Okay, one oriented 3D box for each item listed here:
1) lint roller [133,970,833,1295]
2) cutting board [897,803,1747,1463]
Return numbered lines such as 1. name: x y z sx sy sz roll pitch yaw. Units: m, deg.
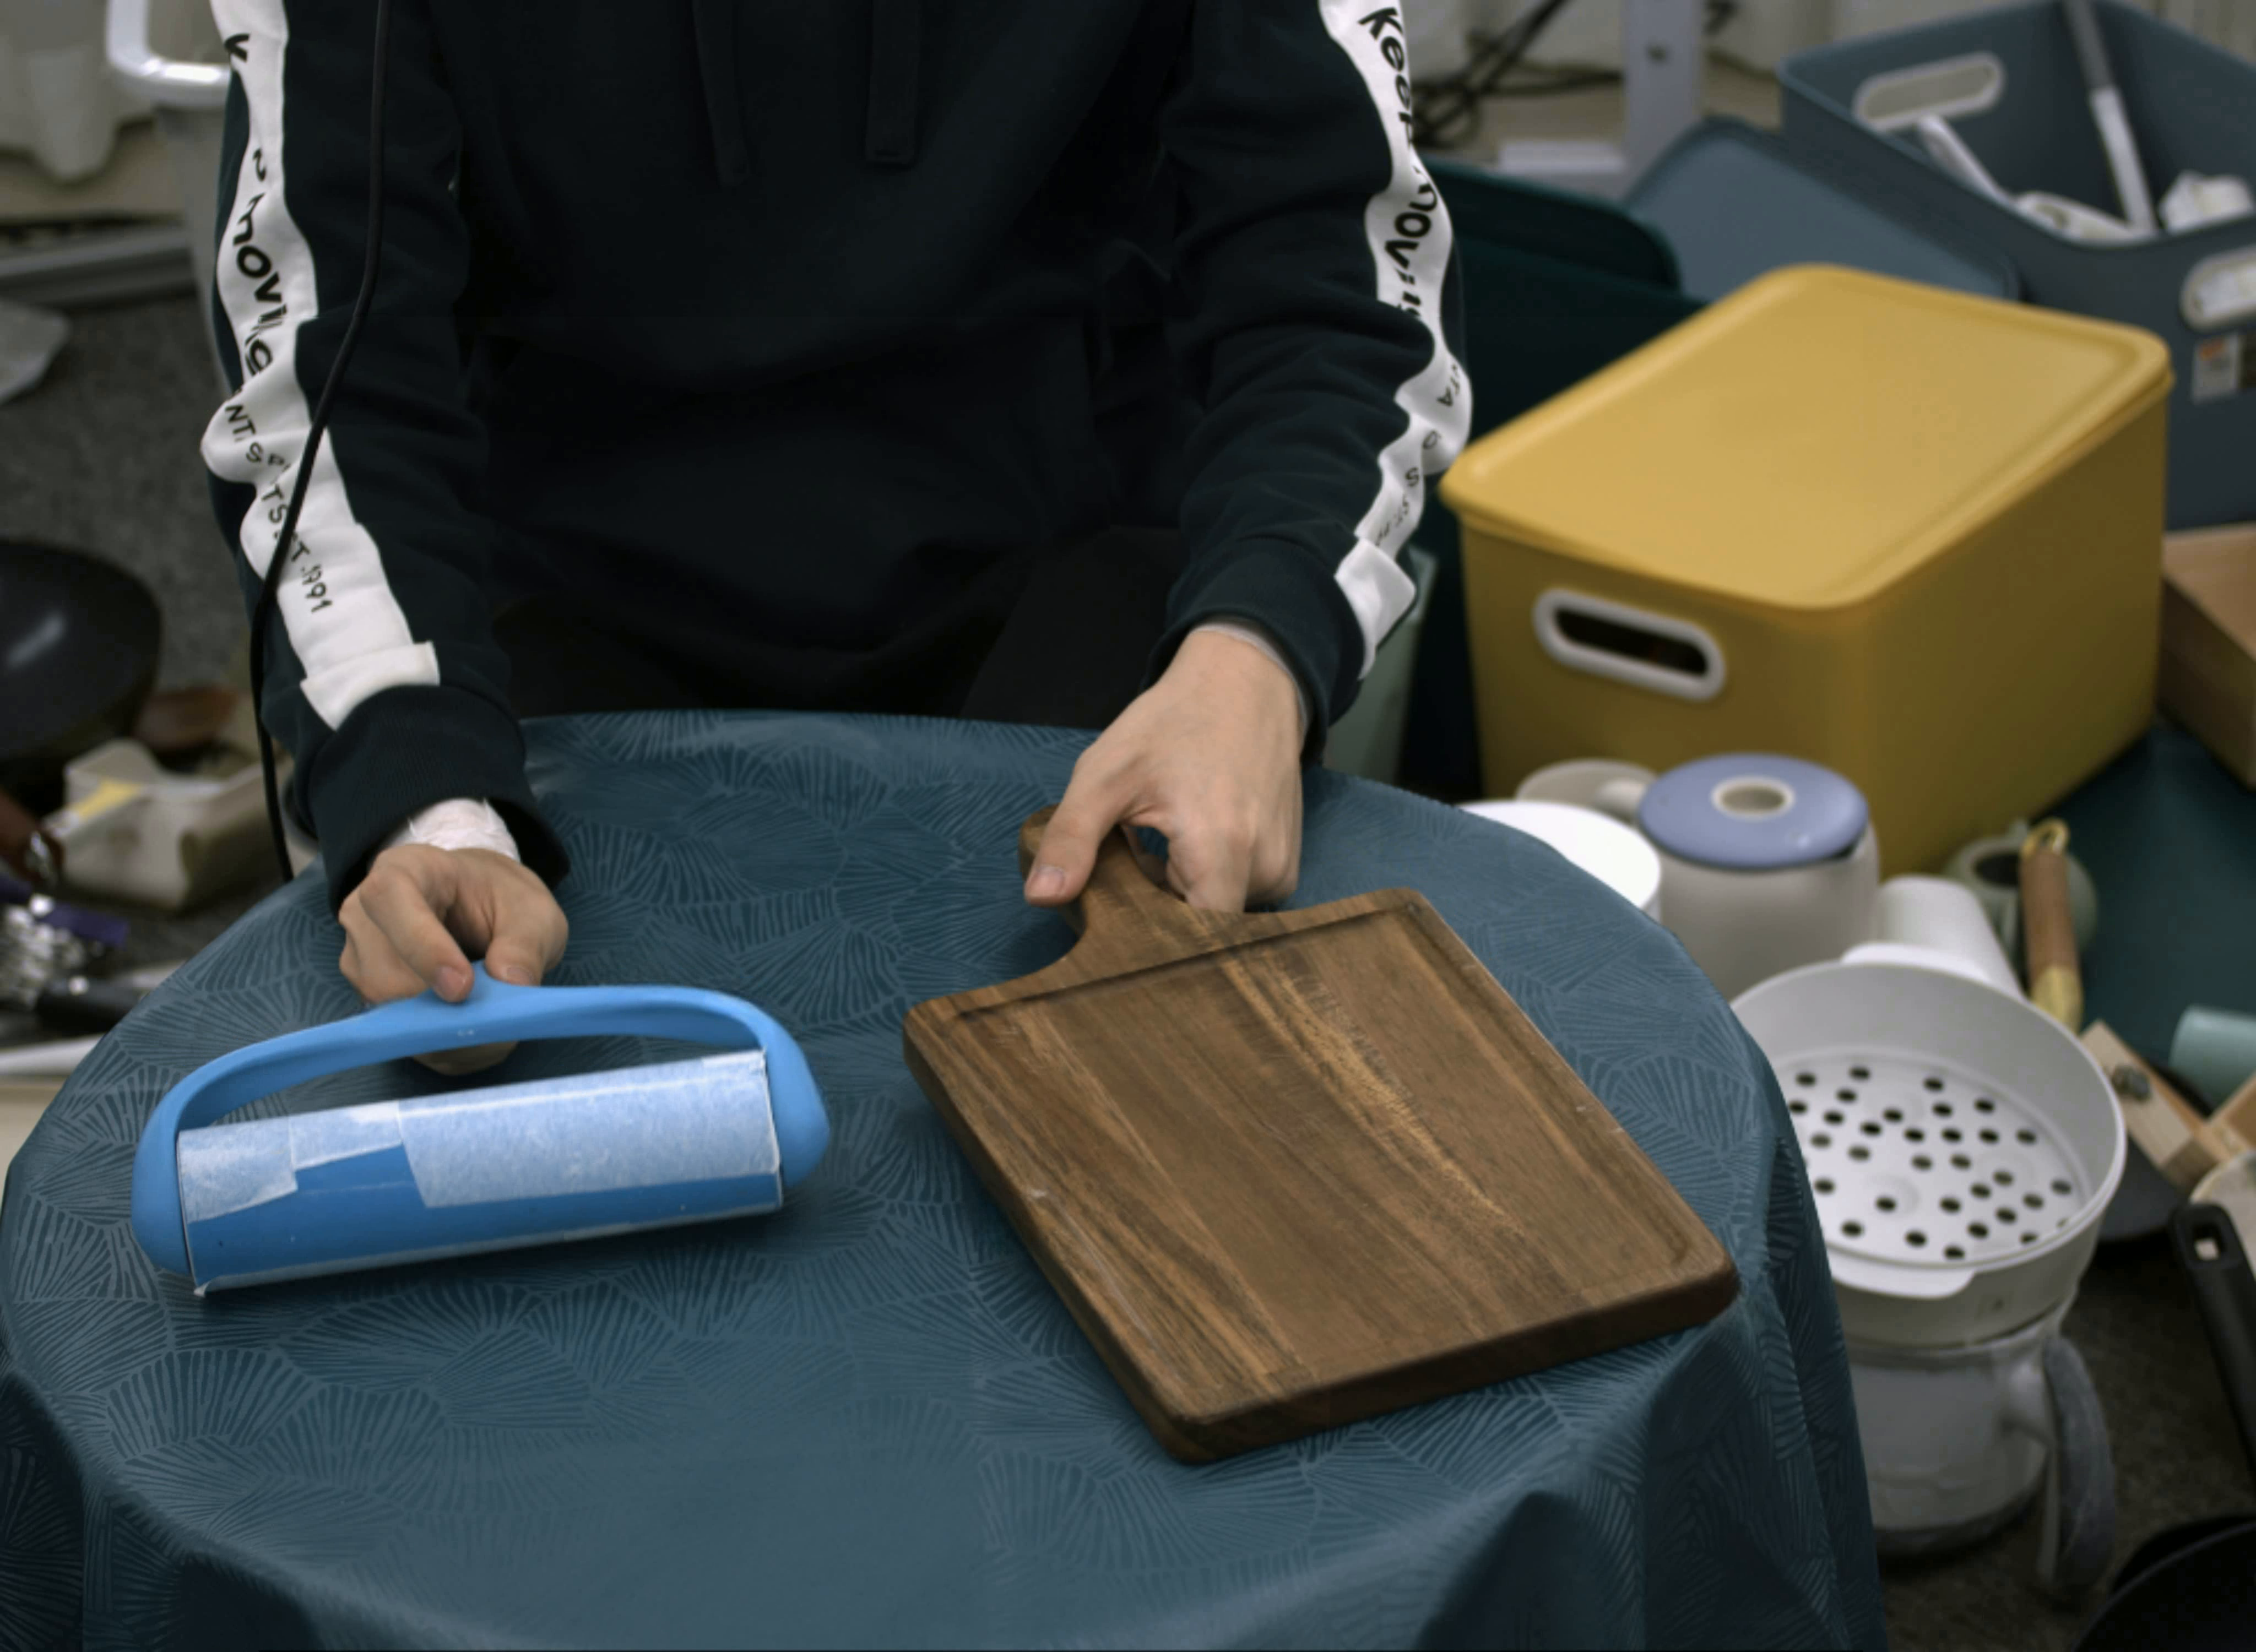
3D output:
1. lint roller: -0.221 0.084 1.883 0.228 0.067 0.182 -10 29 -8
2. cutting board: 0.039 0.084 1.878 0.201 0.023 0.355 -12 33 -20
